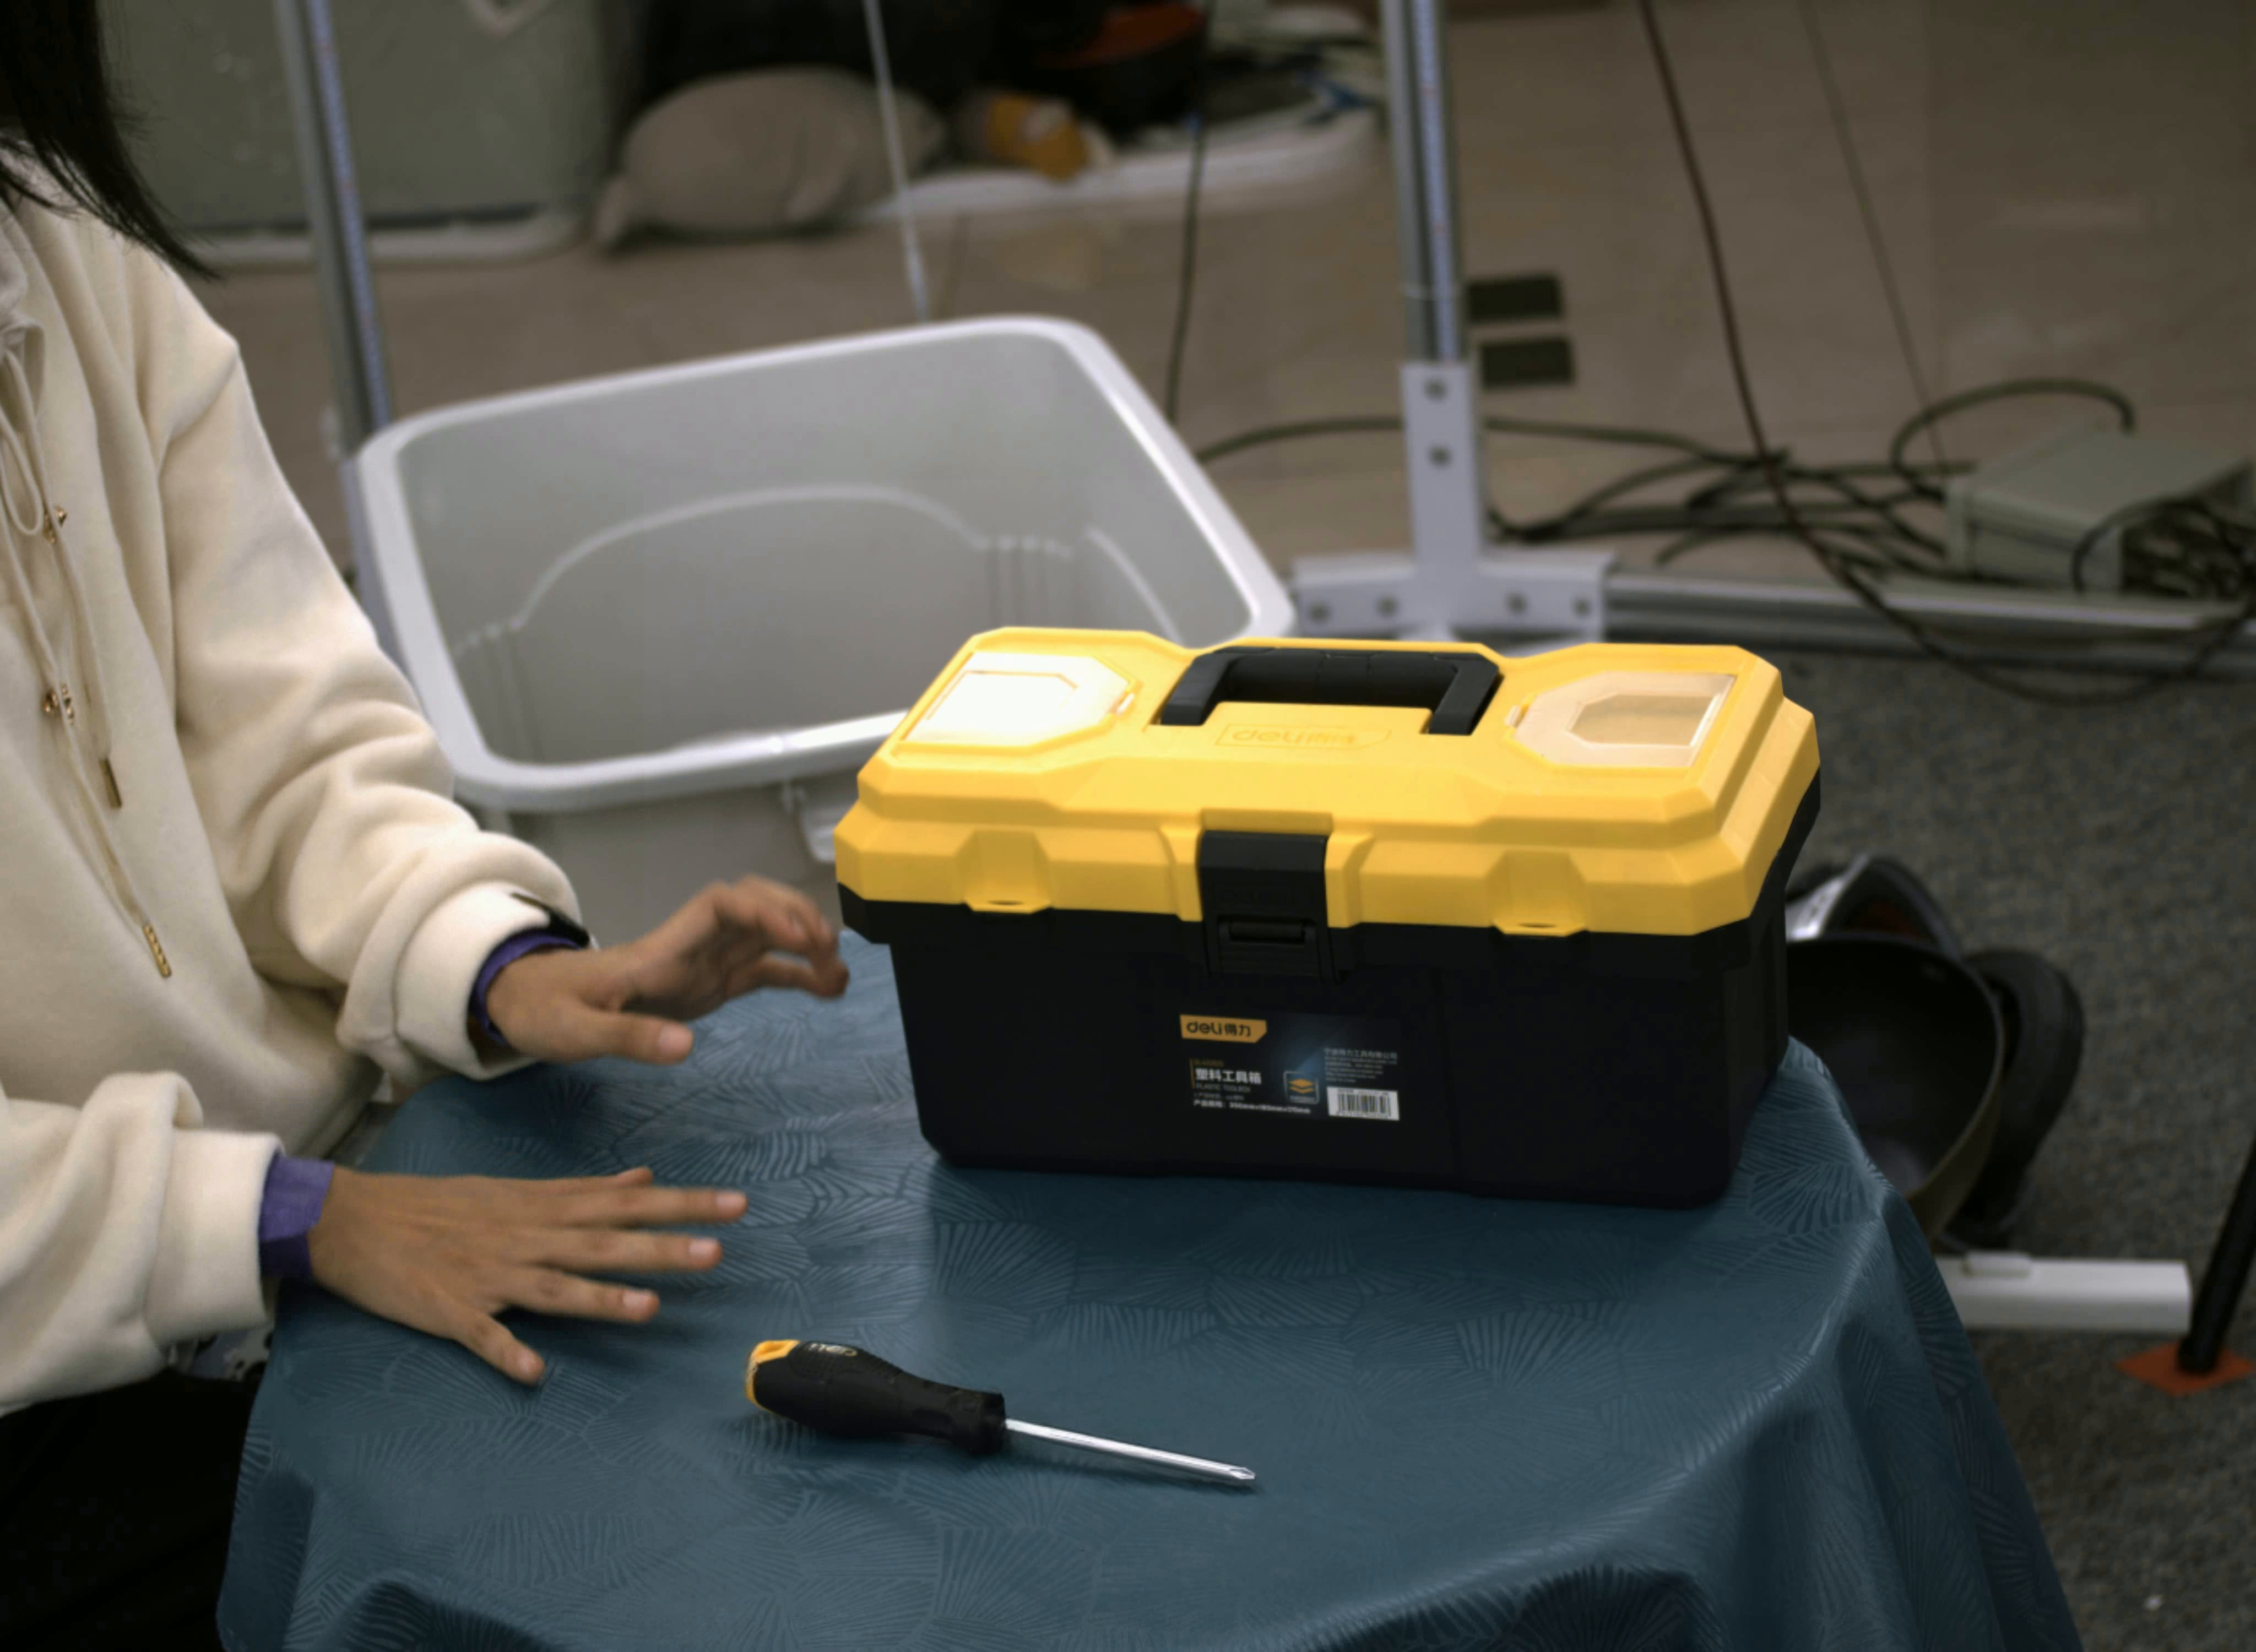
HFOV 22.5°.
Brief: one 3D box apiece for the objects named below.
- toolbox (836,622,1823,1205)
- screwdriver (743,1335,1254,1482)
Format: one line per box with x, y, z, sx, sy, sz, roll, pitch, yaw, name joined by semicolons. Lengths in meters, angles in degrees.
0.079;0.032;2.149;0.350;0.175;0.179;3;27;19;toolbox
-0.046;0.204;1.980;0.195;0.032;0.031;7;28;25;screwdriver
